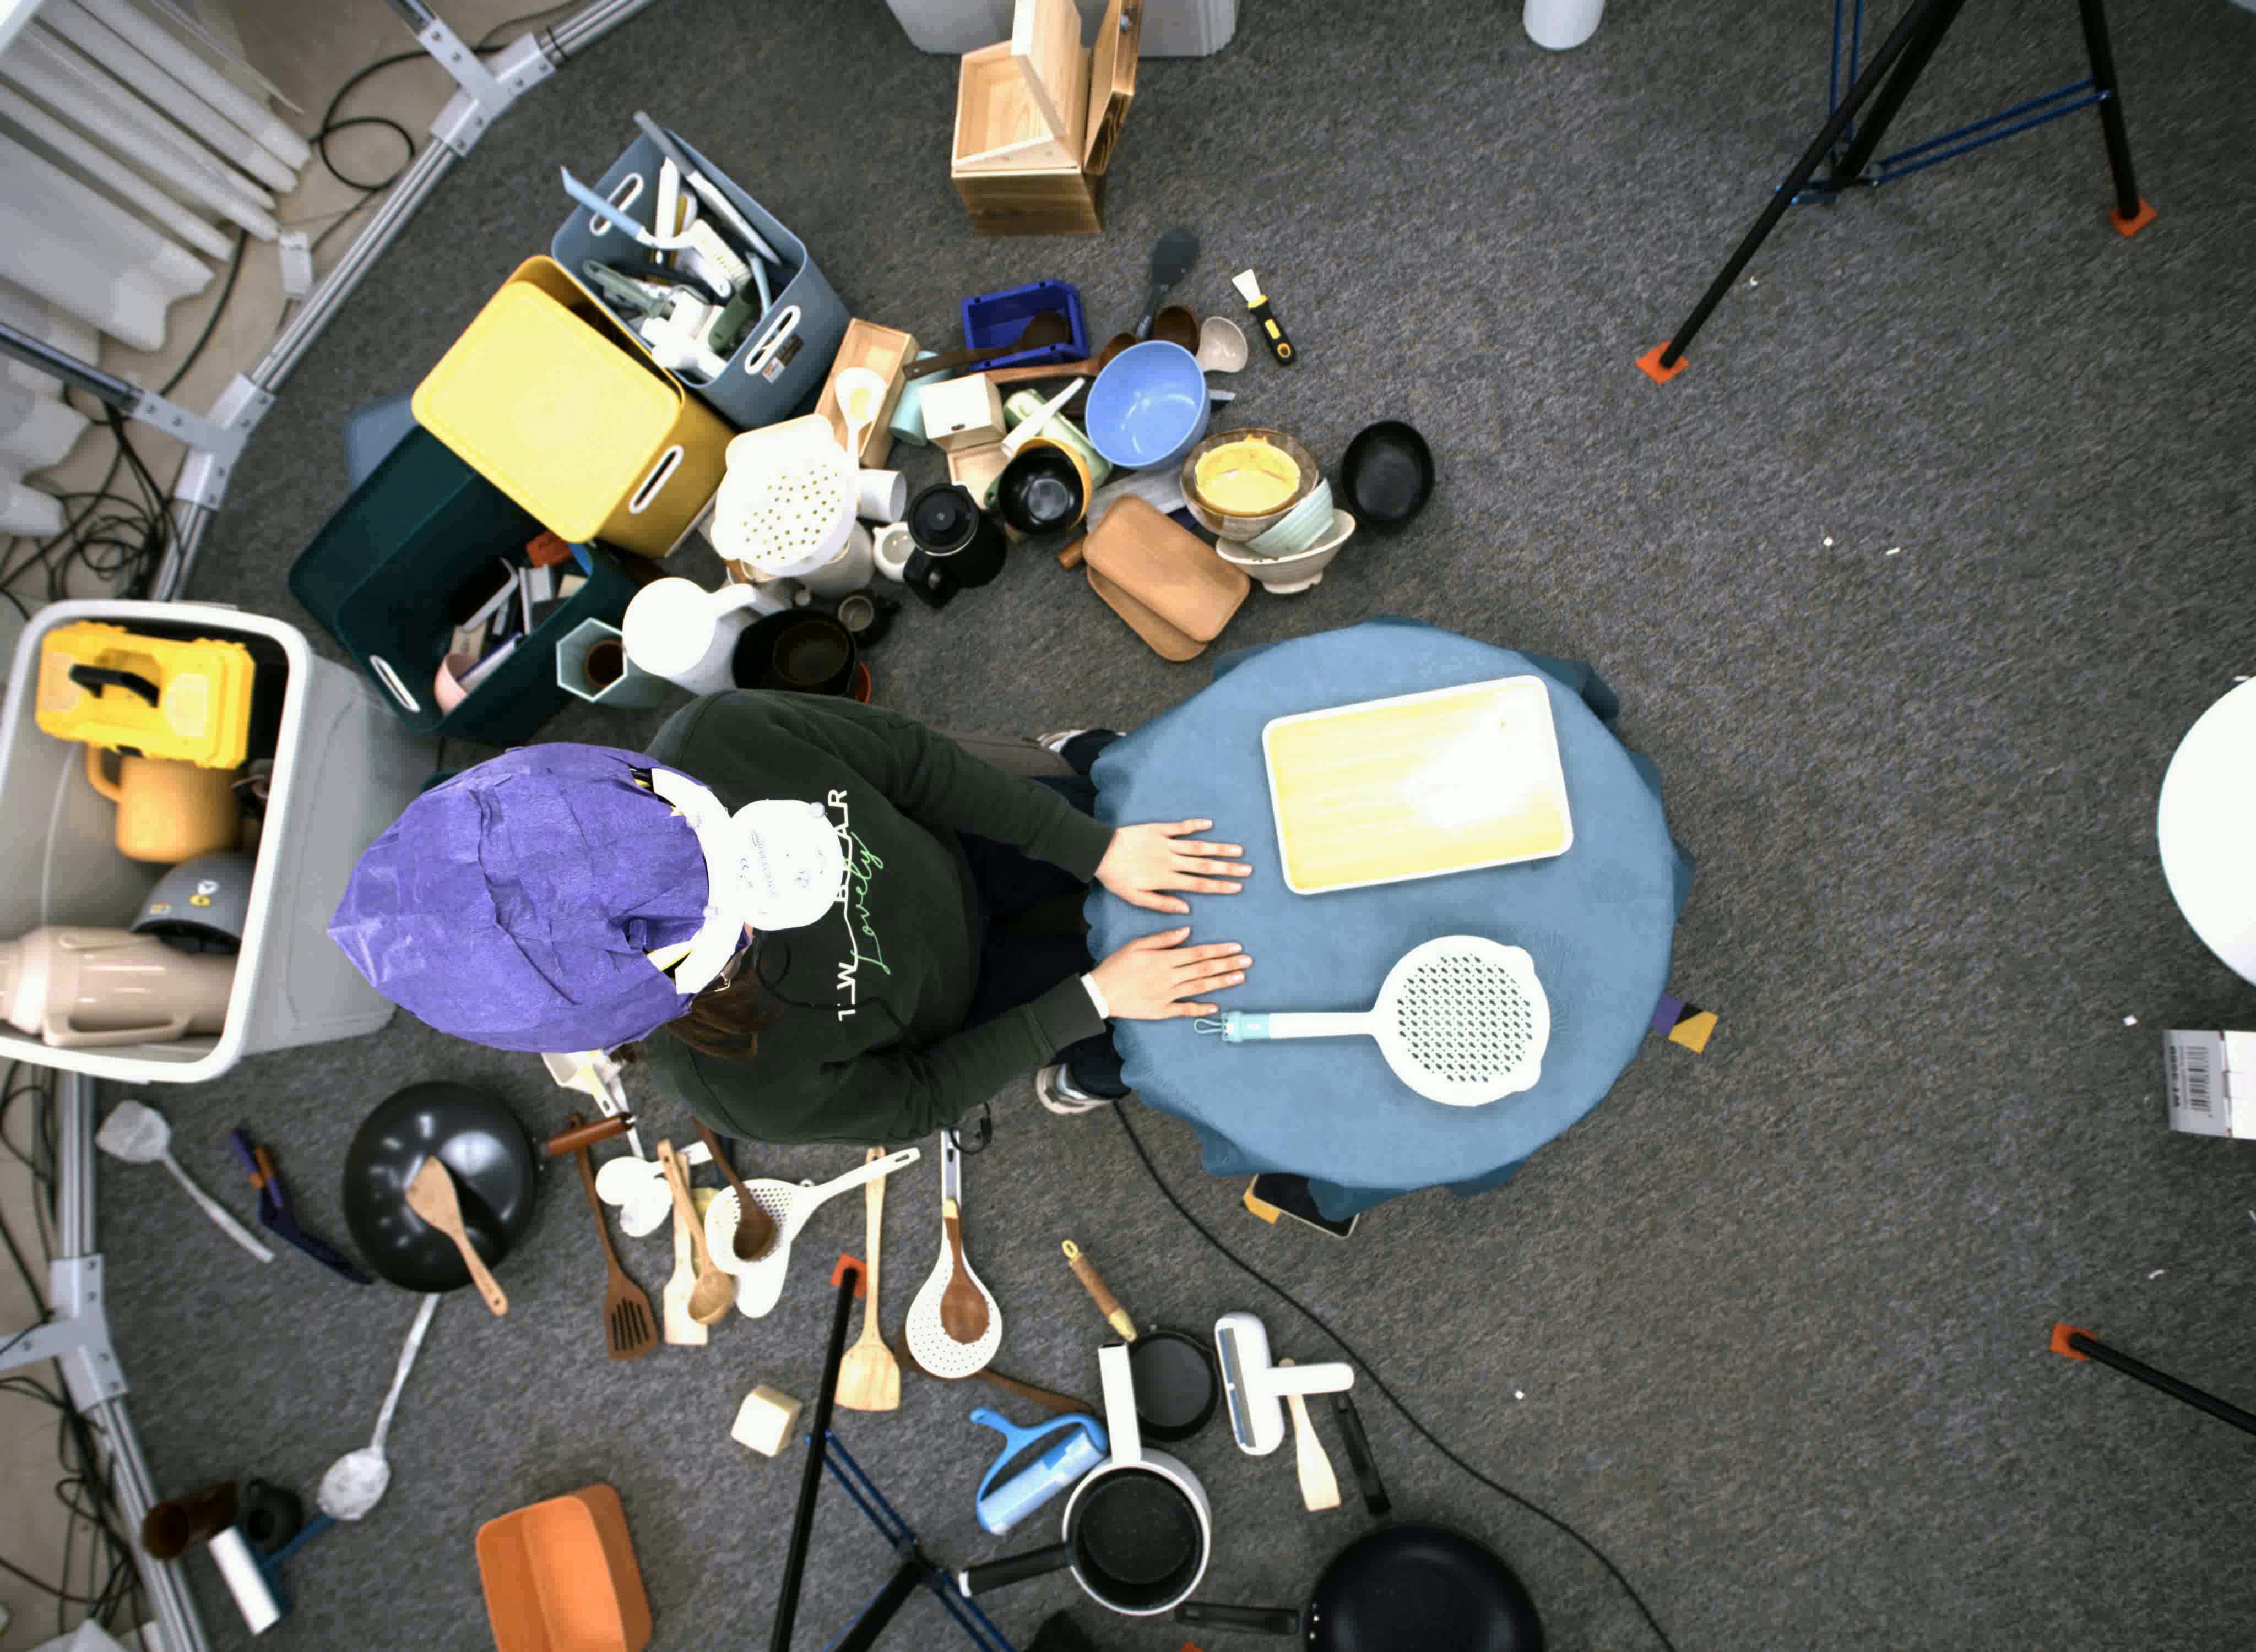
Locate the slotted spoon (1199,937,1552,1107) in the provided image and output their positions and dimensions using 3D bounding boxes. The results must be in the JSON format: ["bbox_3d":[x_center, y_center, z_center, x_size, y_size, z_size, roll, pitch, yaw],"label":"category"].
[{"bbox_3d":[0.248,0.203,1.427,0.360,0.075,0.168,-3,85,10],"label":"slotted spoon"}]

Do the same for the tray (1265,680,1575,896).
[{"bbox_3d":[0.305,-0.041,1.453,0.302,0.027,0.190,-9,84,9],"label":"tray"}]
